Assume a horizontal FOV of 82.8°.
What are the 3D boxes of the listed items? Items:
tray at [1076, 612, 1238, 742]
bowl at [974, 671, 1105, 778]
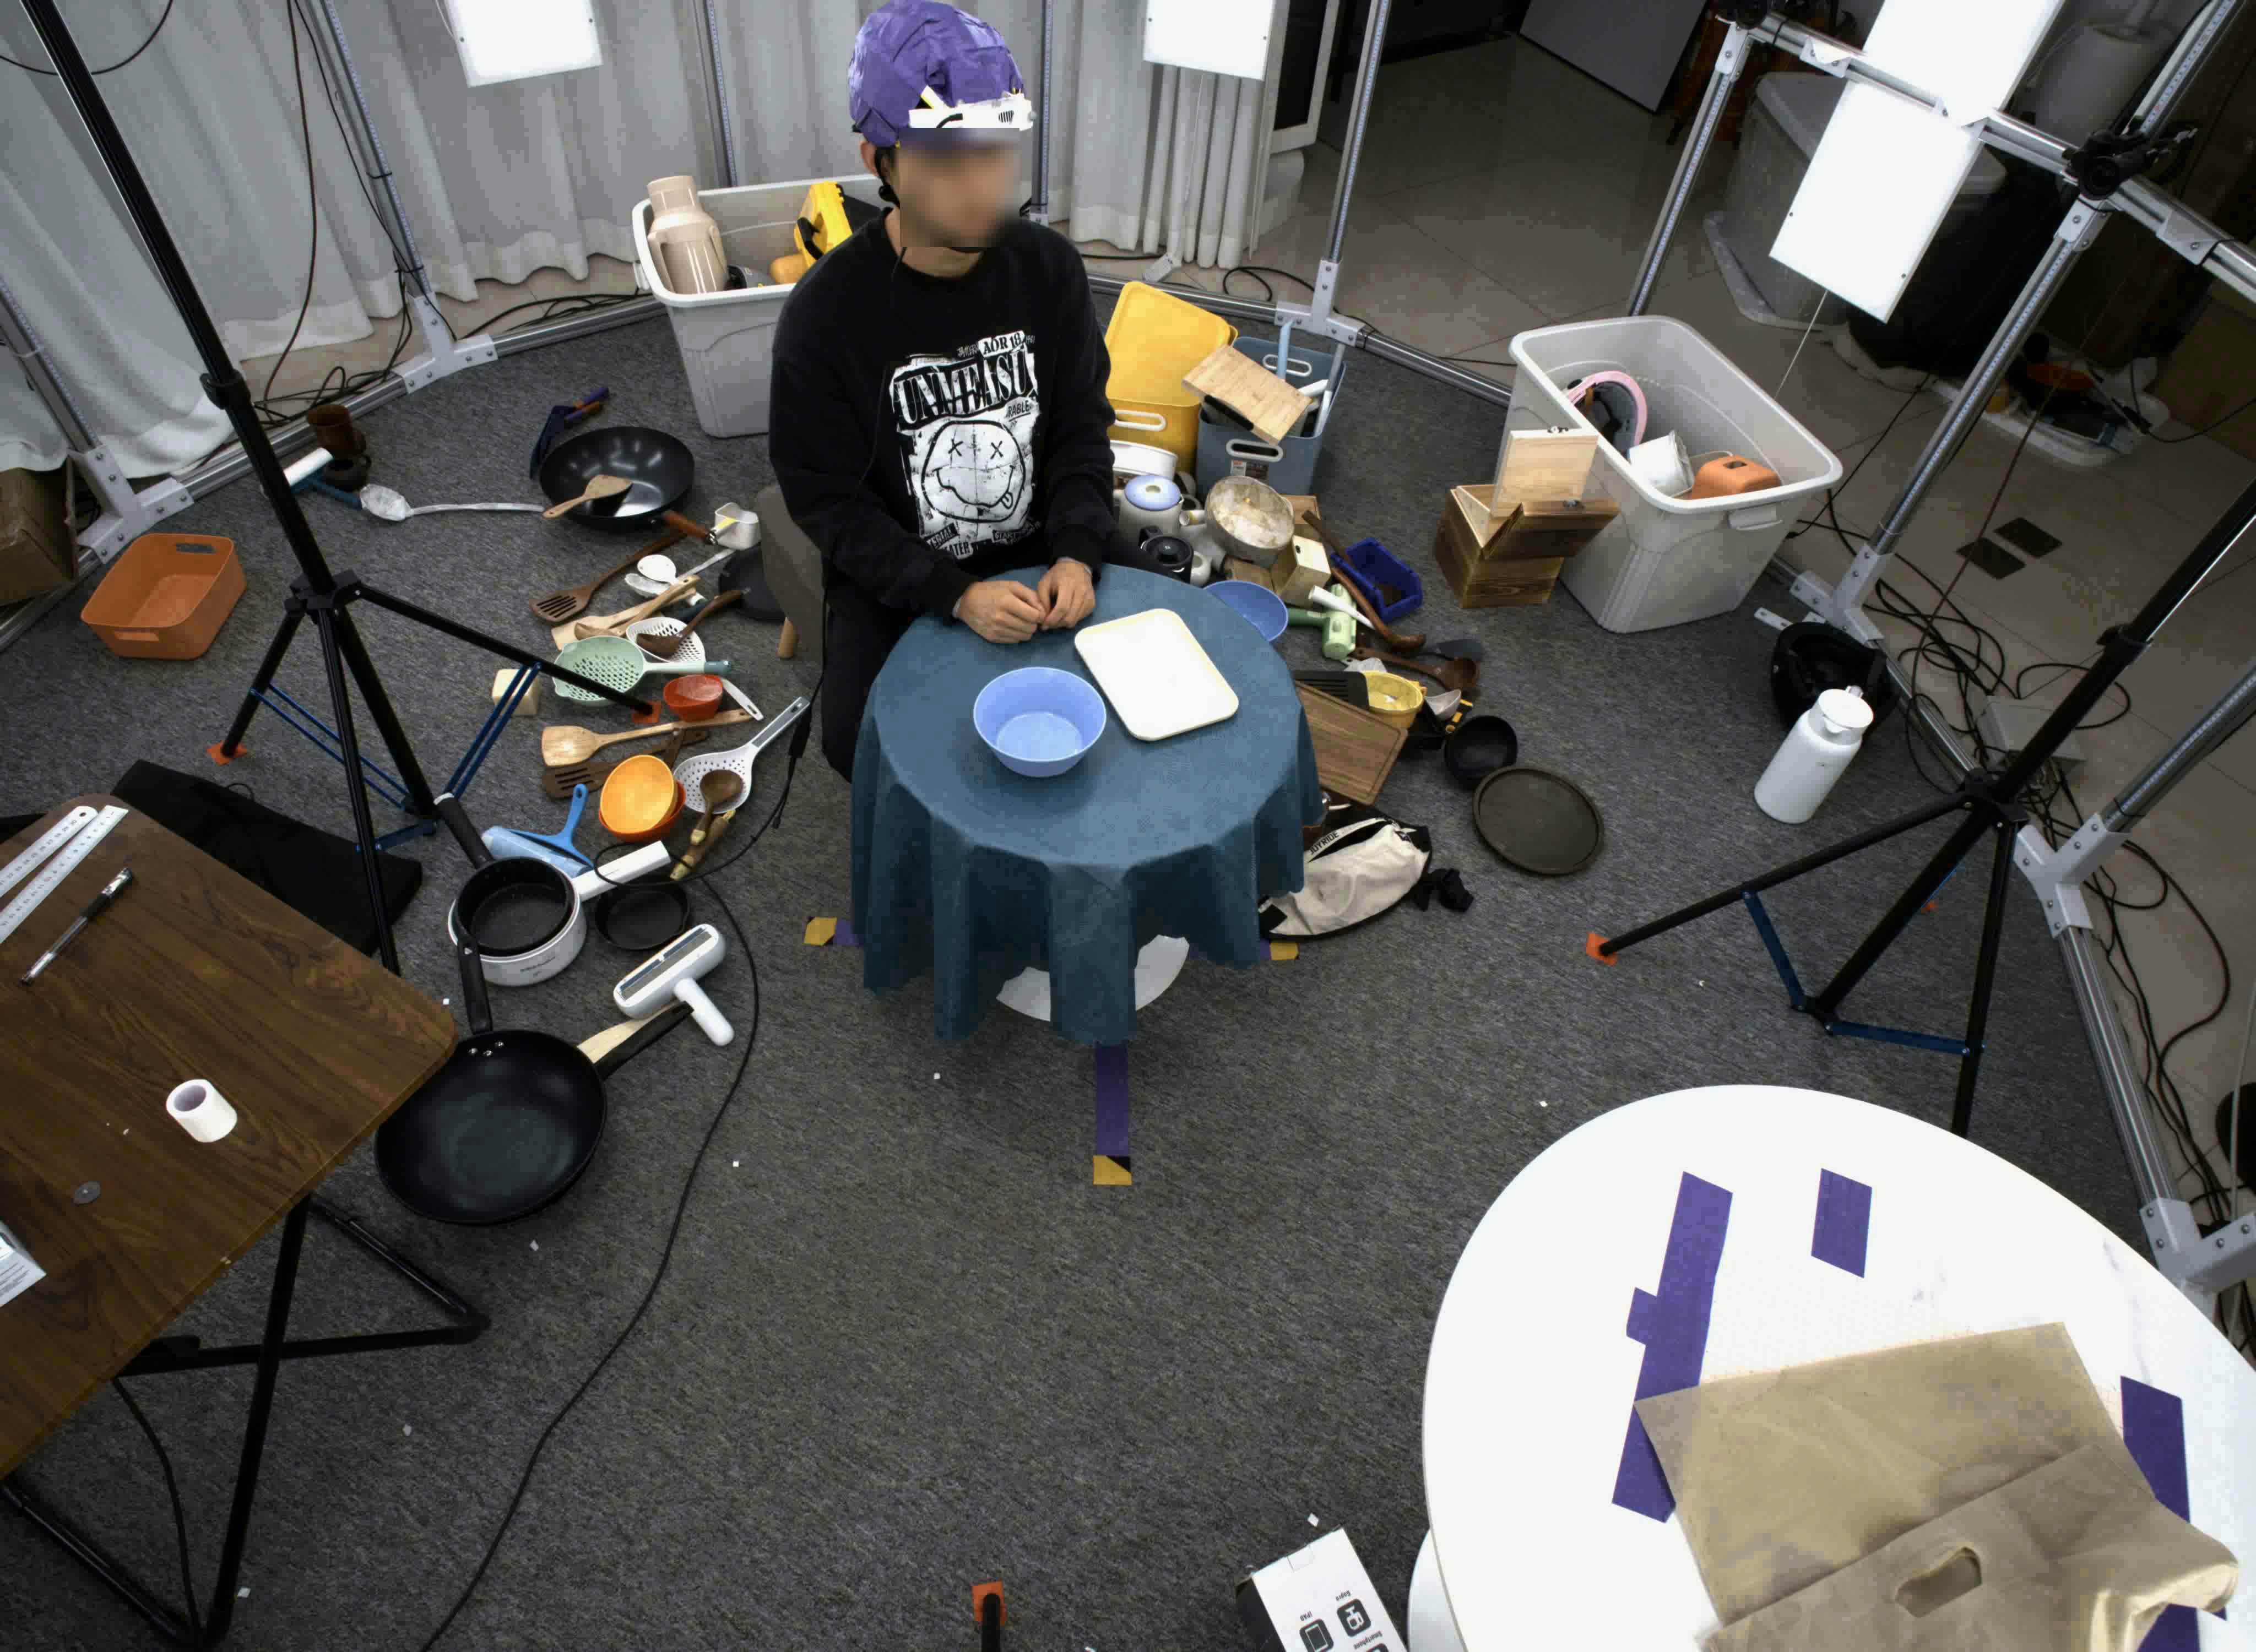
[{"bbox_3d":[0.040,-0.218,1.866,0.171,0.017,0.245,-17,52,-19],"label":"tray"},{"bbox_3d":[-0.120,-0.129,1.742,0.176,0.068,0.180,2,48,-3],"label":"bowl"}]
